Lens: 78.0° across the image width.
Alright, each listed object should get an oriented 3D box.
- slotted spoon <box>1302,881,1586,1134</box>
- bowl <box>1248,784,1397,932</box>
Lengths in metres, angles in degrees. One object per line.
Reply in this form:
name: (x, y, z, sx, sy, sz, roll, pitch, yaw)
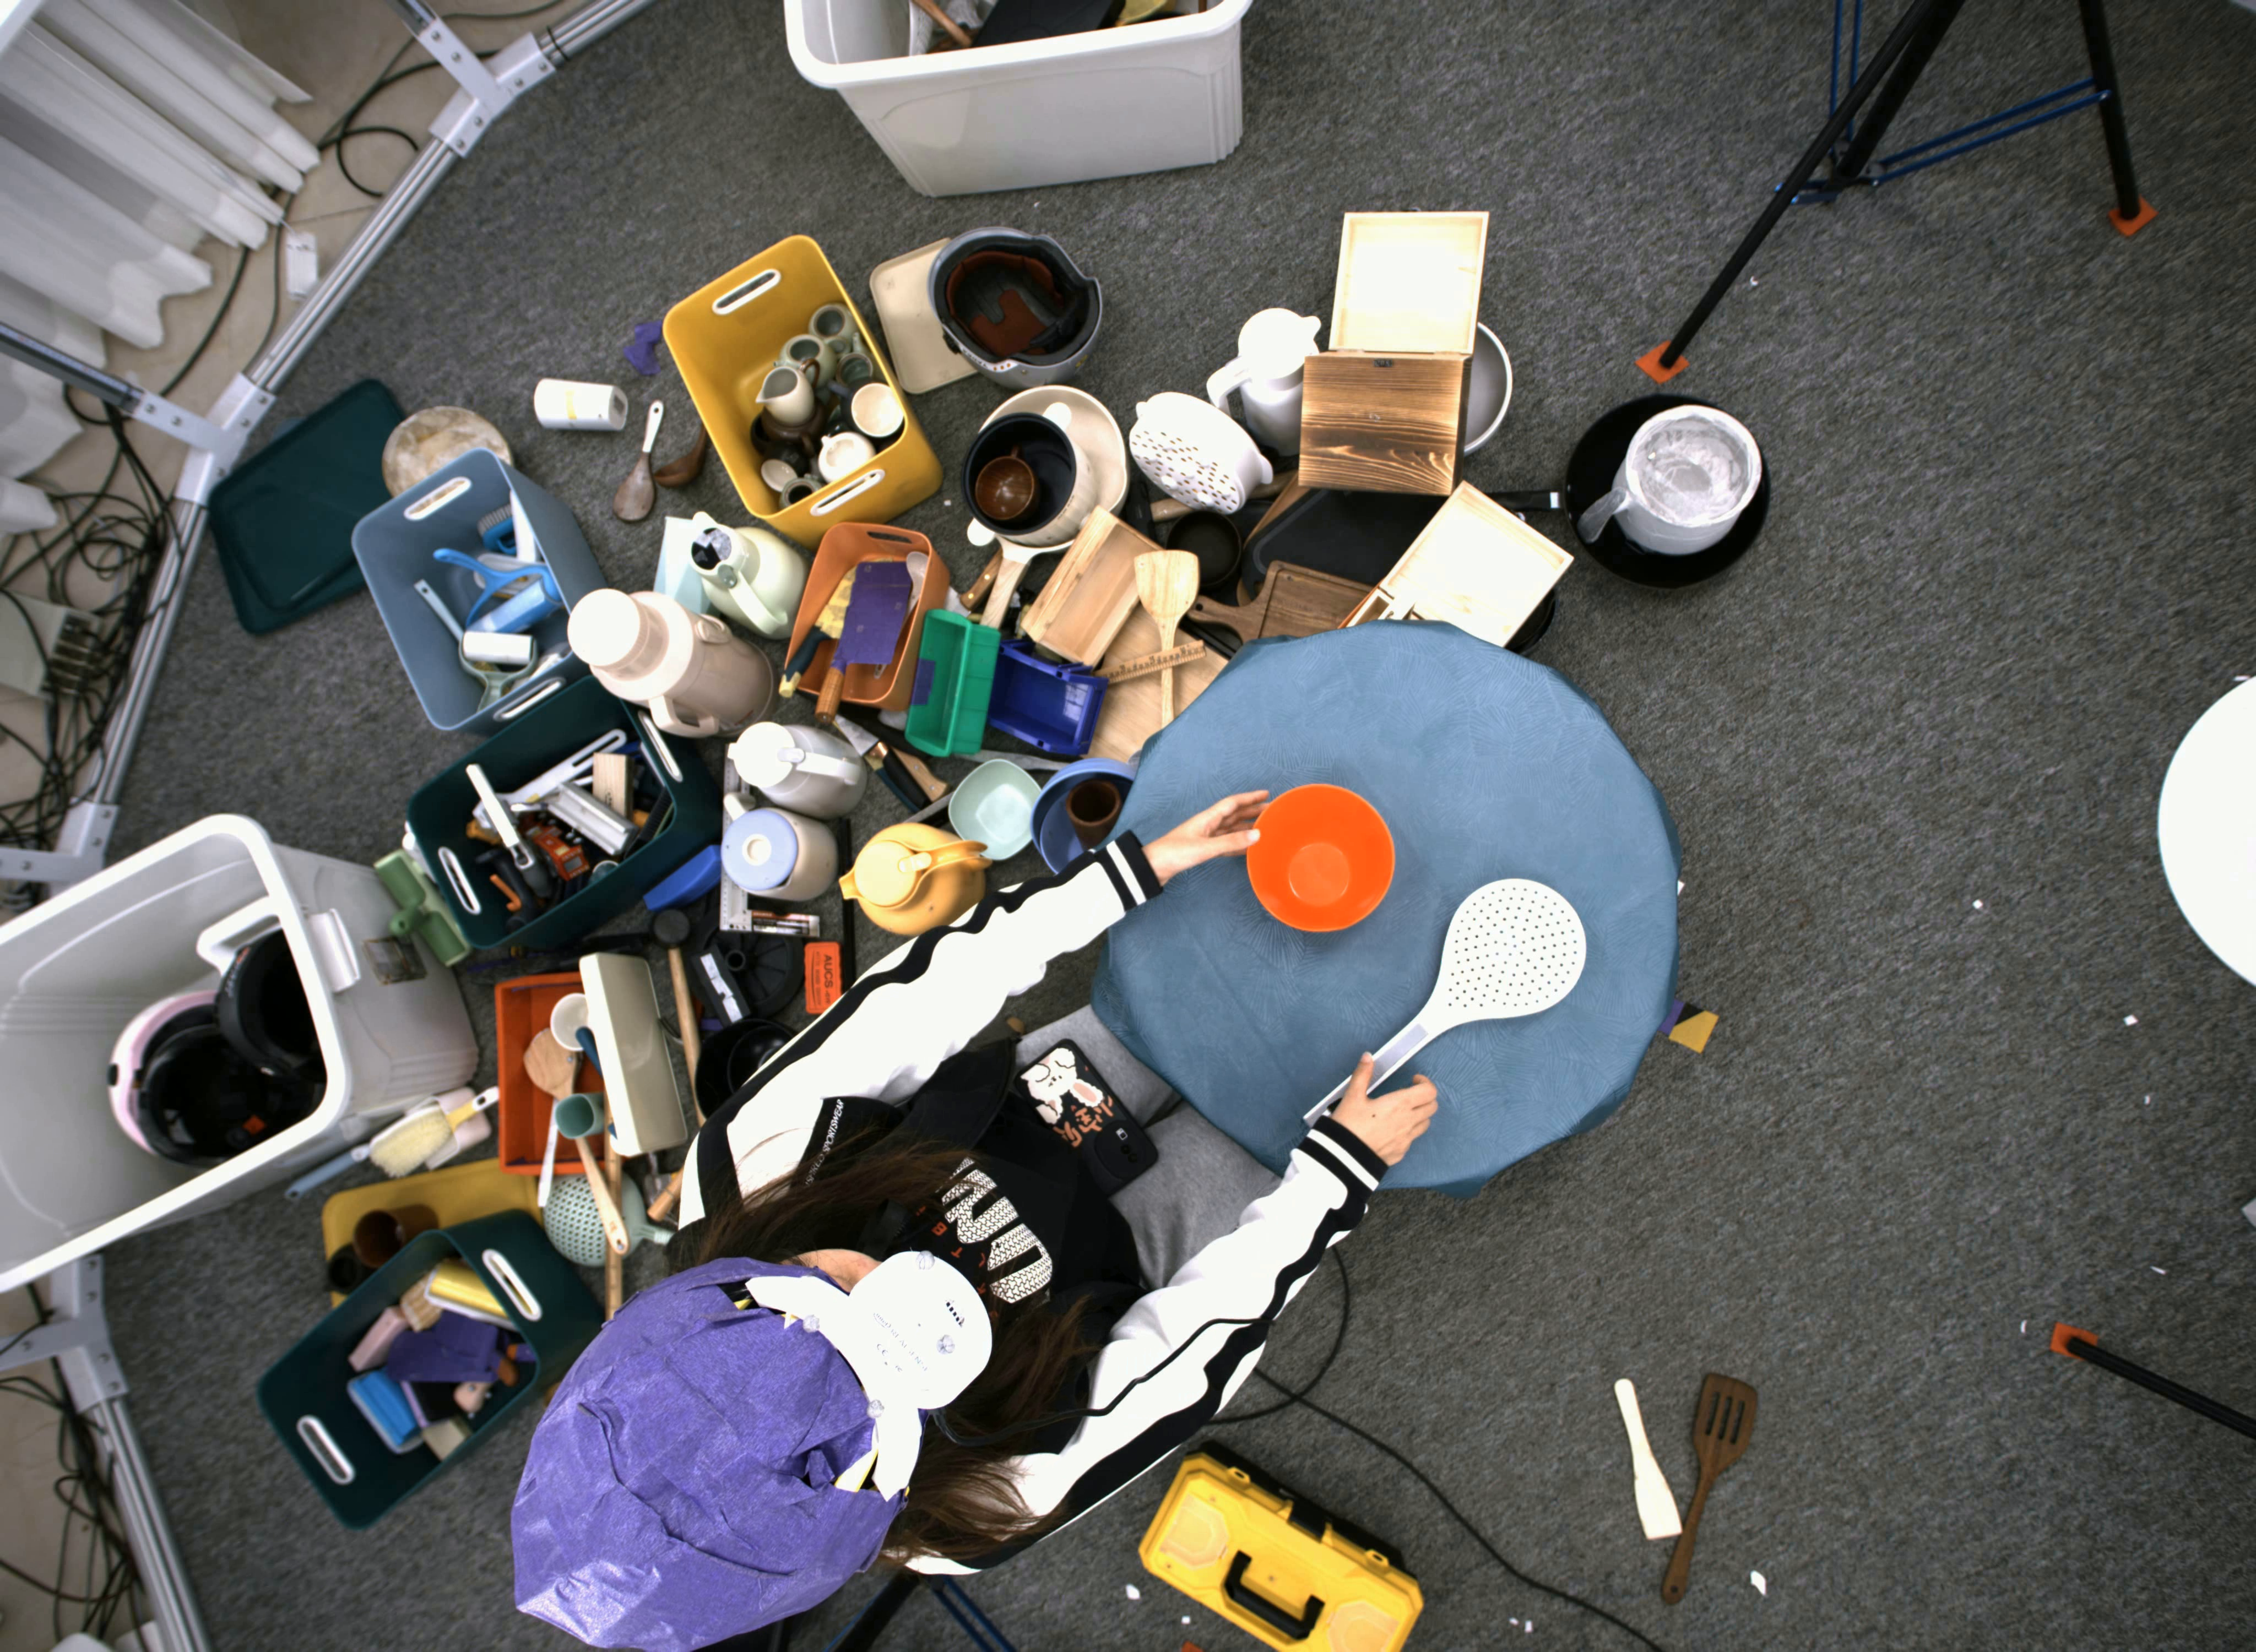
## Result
slotted spoon: (0.317, 0.195, 1.421, 0.351, 0.046, 0.135, -42, 79, 6)
bowl: (0.199, 0.035, 1.423, 0.148, 0.104, 0.147, 0, 88, 7)
